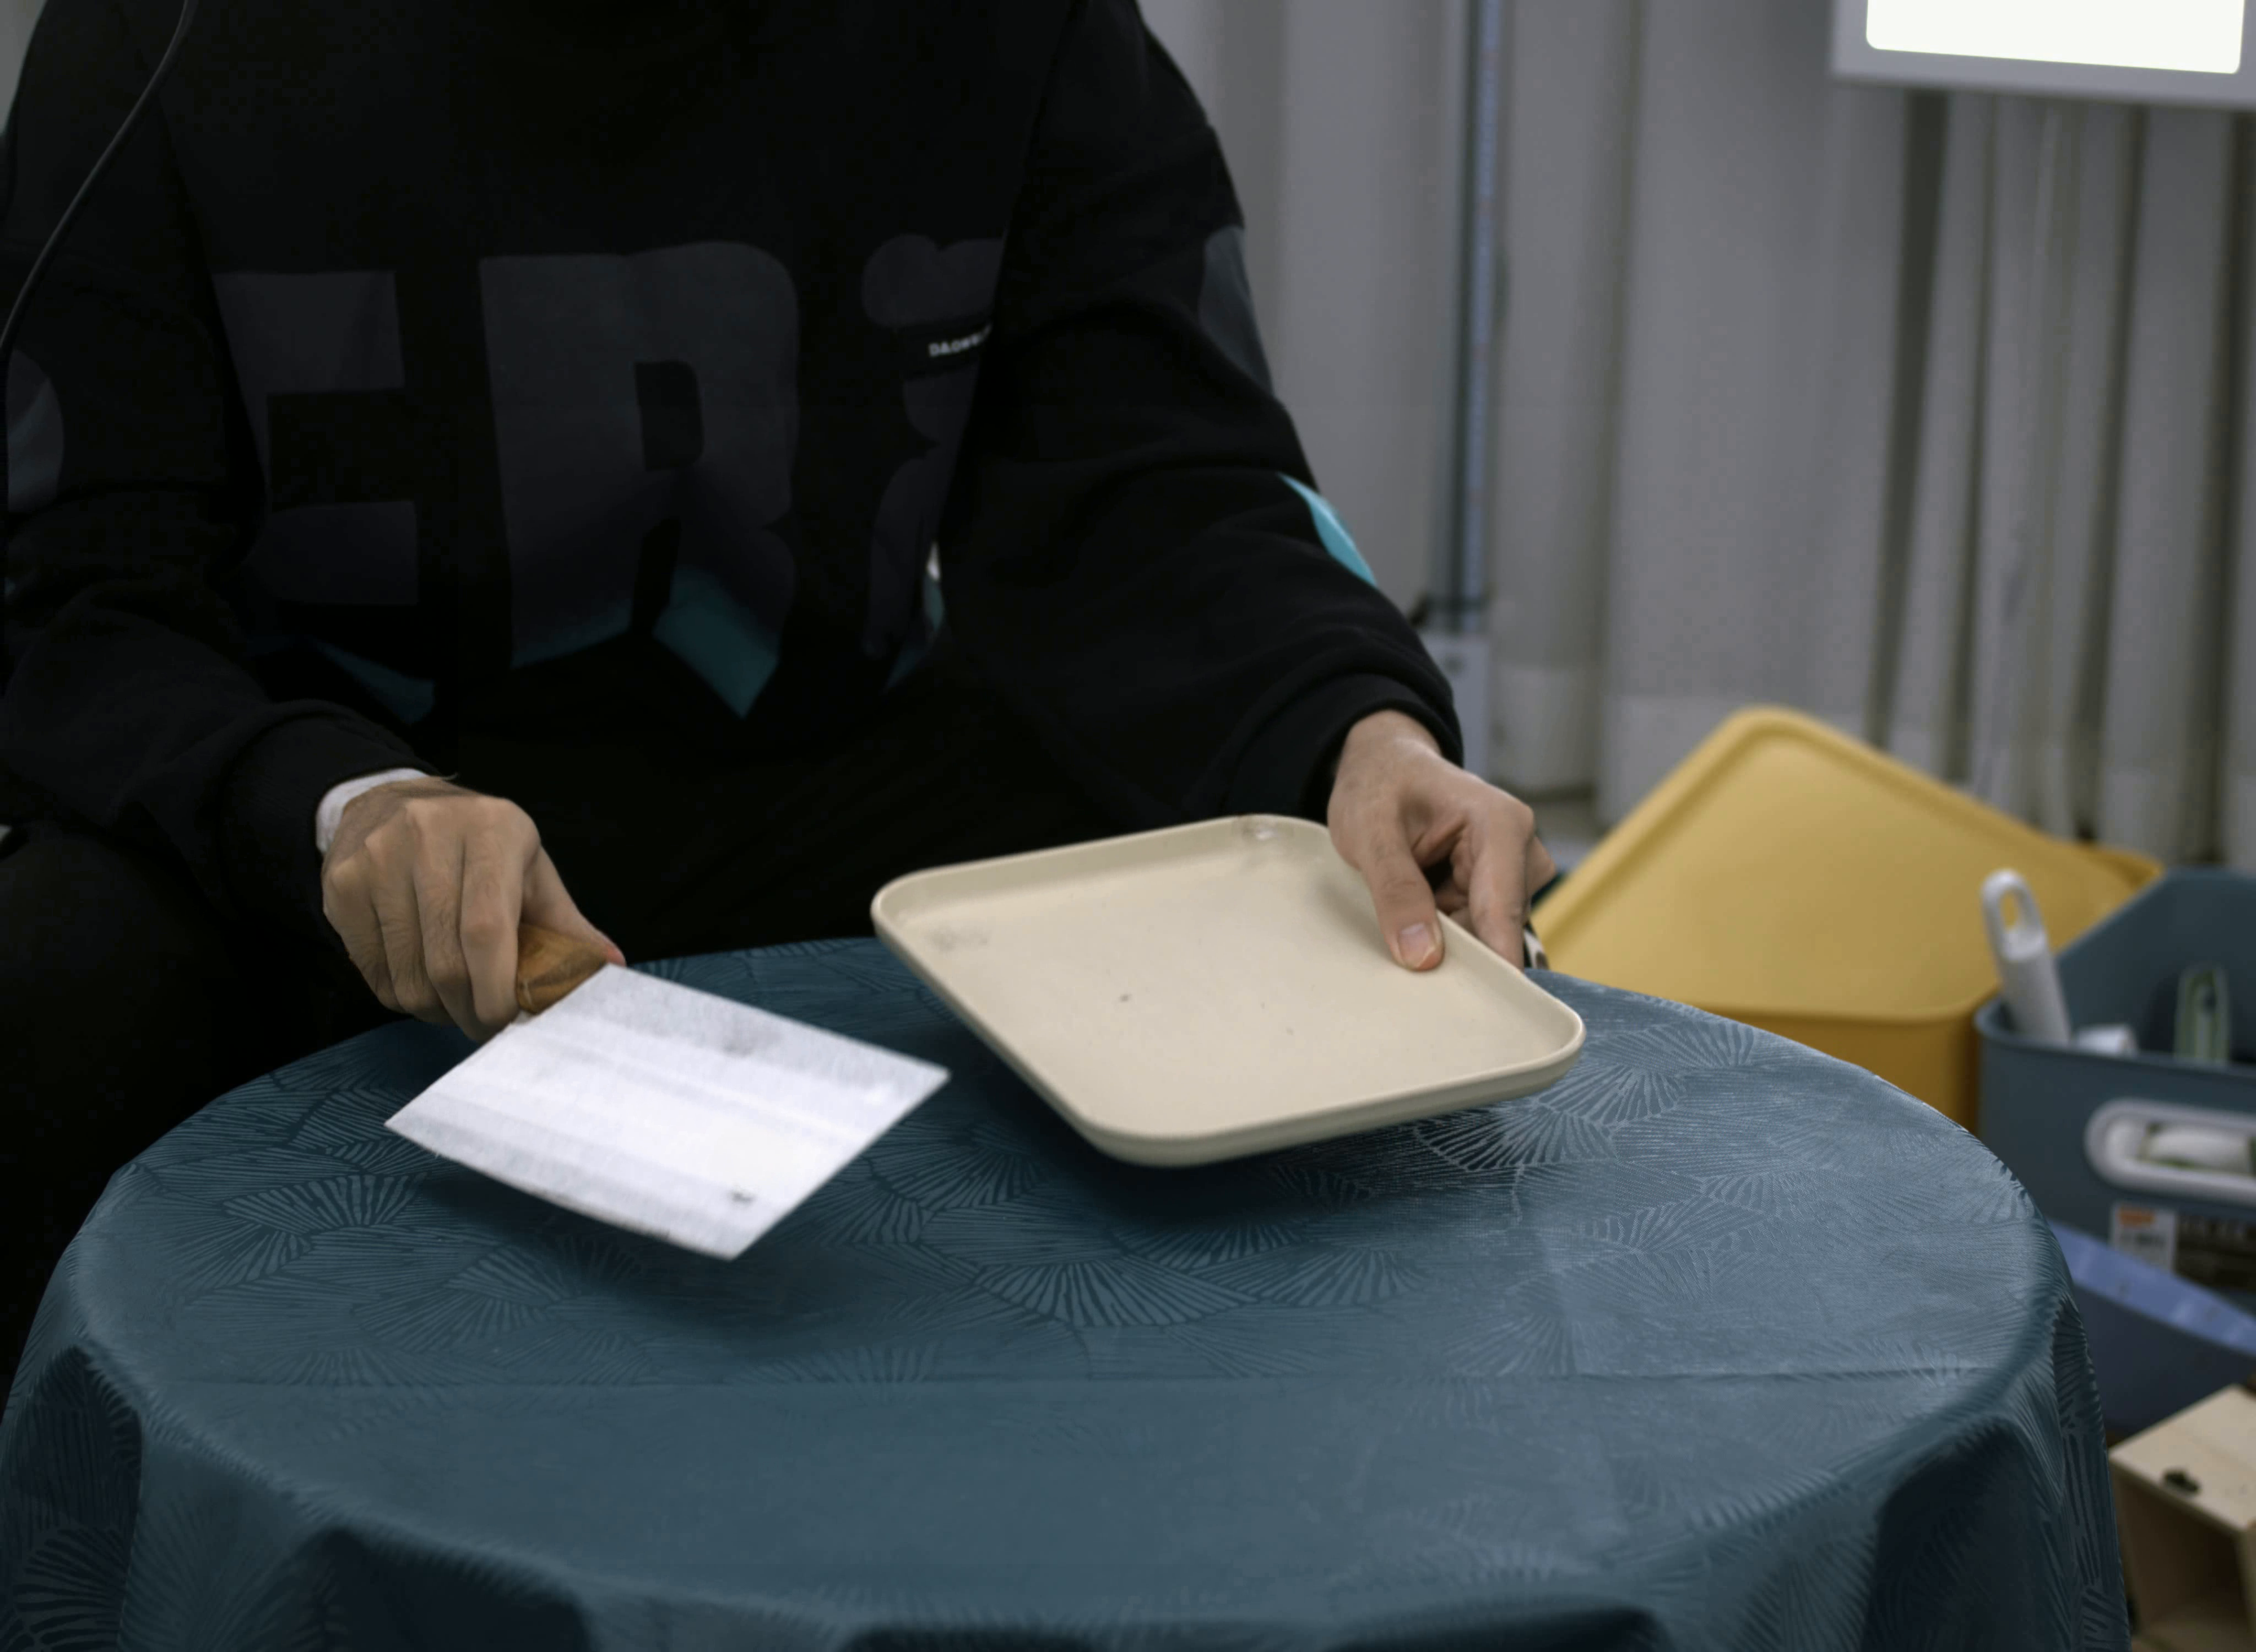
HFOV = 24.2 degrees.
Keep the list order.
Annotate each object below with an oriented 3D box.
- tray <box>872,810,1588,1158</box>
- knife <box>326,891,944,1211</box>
[{"bbox_3d":[0.029,0.049,1.697,0.171,0.017,0.236,-10,22,-21],"label":"tray"},{"bbox_3d":[-0.175,0.070,1.615,0.093,0.021,0.302,-41,32,-27],"label":"knife"}]
